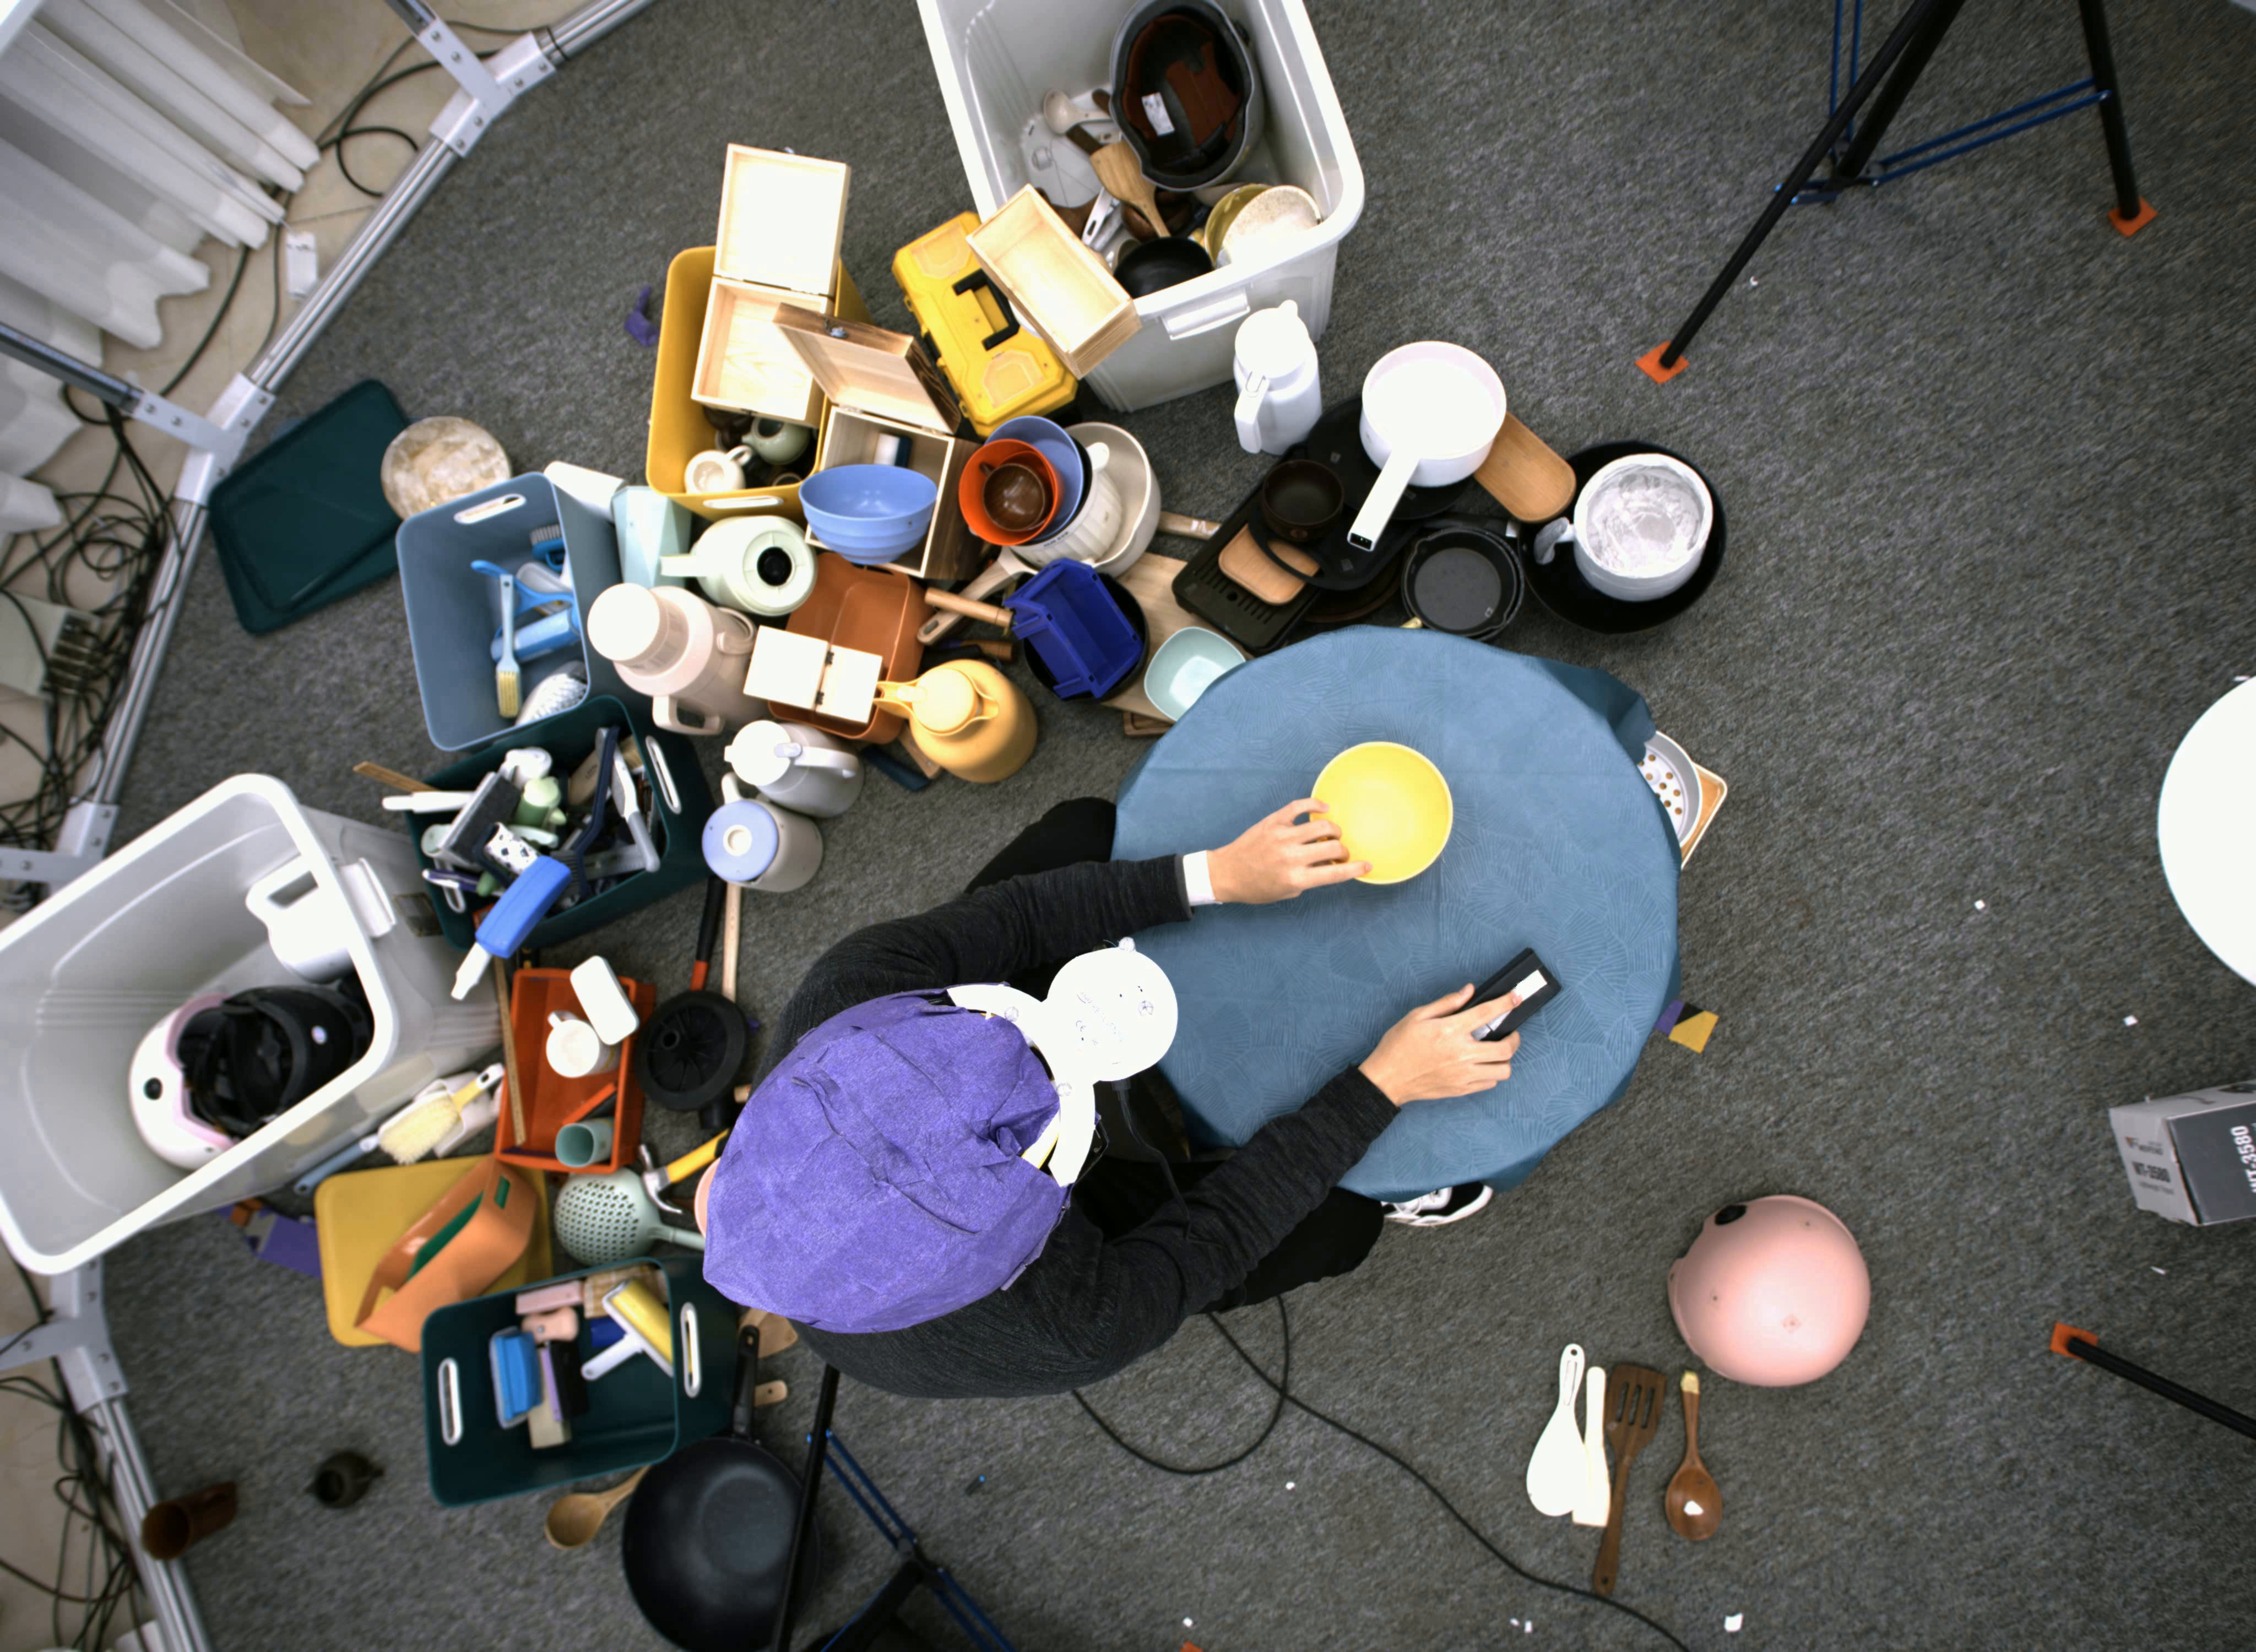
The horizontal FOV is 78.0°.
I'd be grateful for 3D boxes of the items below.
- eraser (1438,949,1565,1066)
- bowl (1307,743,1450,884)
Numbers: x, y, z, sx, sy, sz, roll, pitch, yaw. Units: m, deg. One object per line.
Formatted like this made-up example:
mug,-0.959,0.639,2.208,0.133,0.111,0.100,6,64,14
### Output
eraser,0.377,0.180,1.394,0.126,0.030,0.053,-41,88,5
bowl,0.256,-0.010,1.419,0.146,0.060,0.144,-1,83,7
